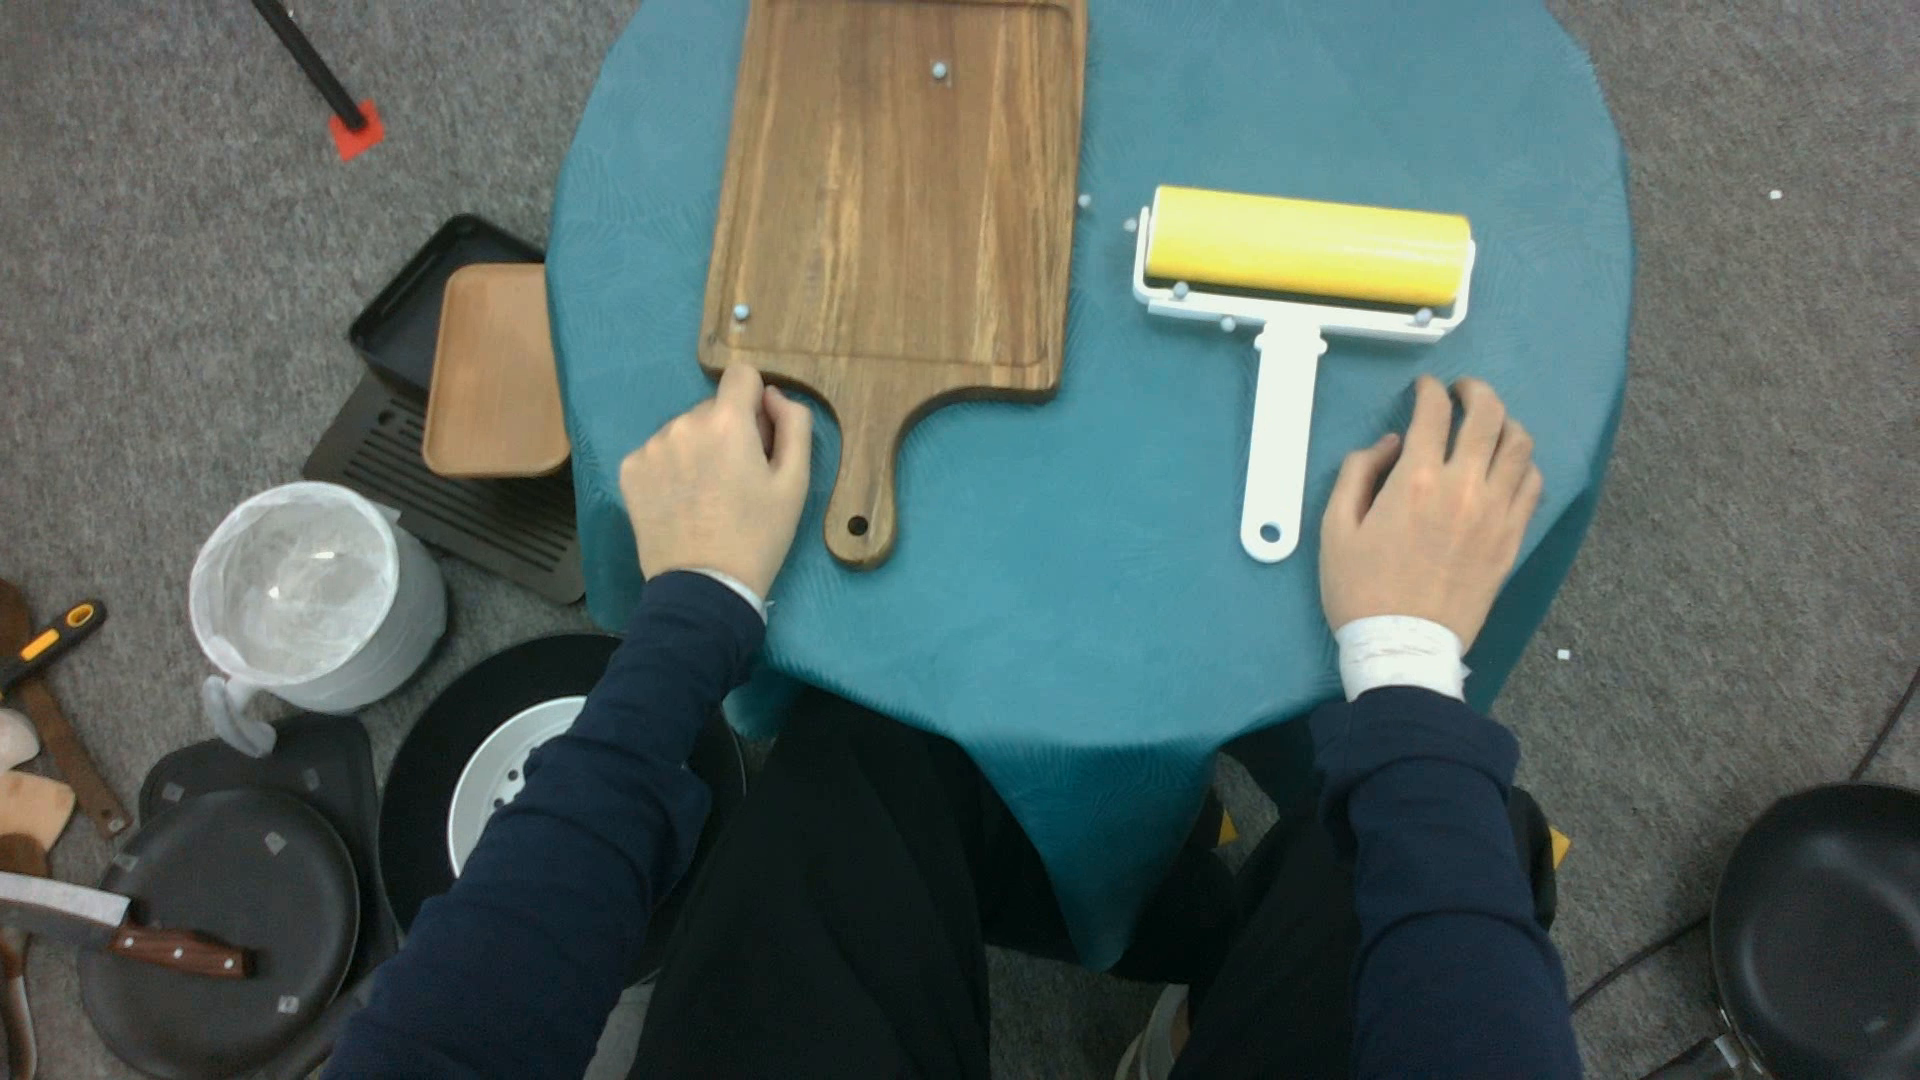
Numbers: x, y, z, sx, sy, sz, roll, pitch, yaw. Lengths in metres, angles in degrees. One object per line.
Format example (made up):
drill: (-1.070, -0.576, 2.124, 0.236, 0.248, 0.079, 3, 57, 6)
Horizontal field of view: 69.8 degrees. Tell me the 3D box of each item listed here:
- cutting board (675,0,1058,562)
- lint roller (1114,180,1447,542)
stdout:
cutting board: (-0.050, -0.158, 0.755, 0.201, 0.023, 0.353, 3, 72, 2)
lint roller: (0.163, -0.096, 0.716, 0.174, 0.051, 0.192, 5, 69, 3)
